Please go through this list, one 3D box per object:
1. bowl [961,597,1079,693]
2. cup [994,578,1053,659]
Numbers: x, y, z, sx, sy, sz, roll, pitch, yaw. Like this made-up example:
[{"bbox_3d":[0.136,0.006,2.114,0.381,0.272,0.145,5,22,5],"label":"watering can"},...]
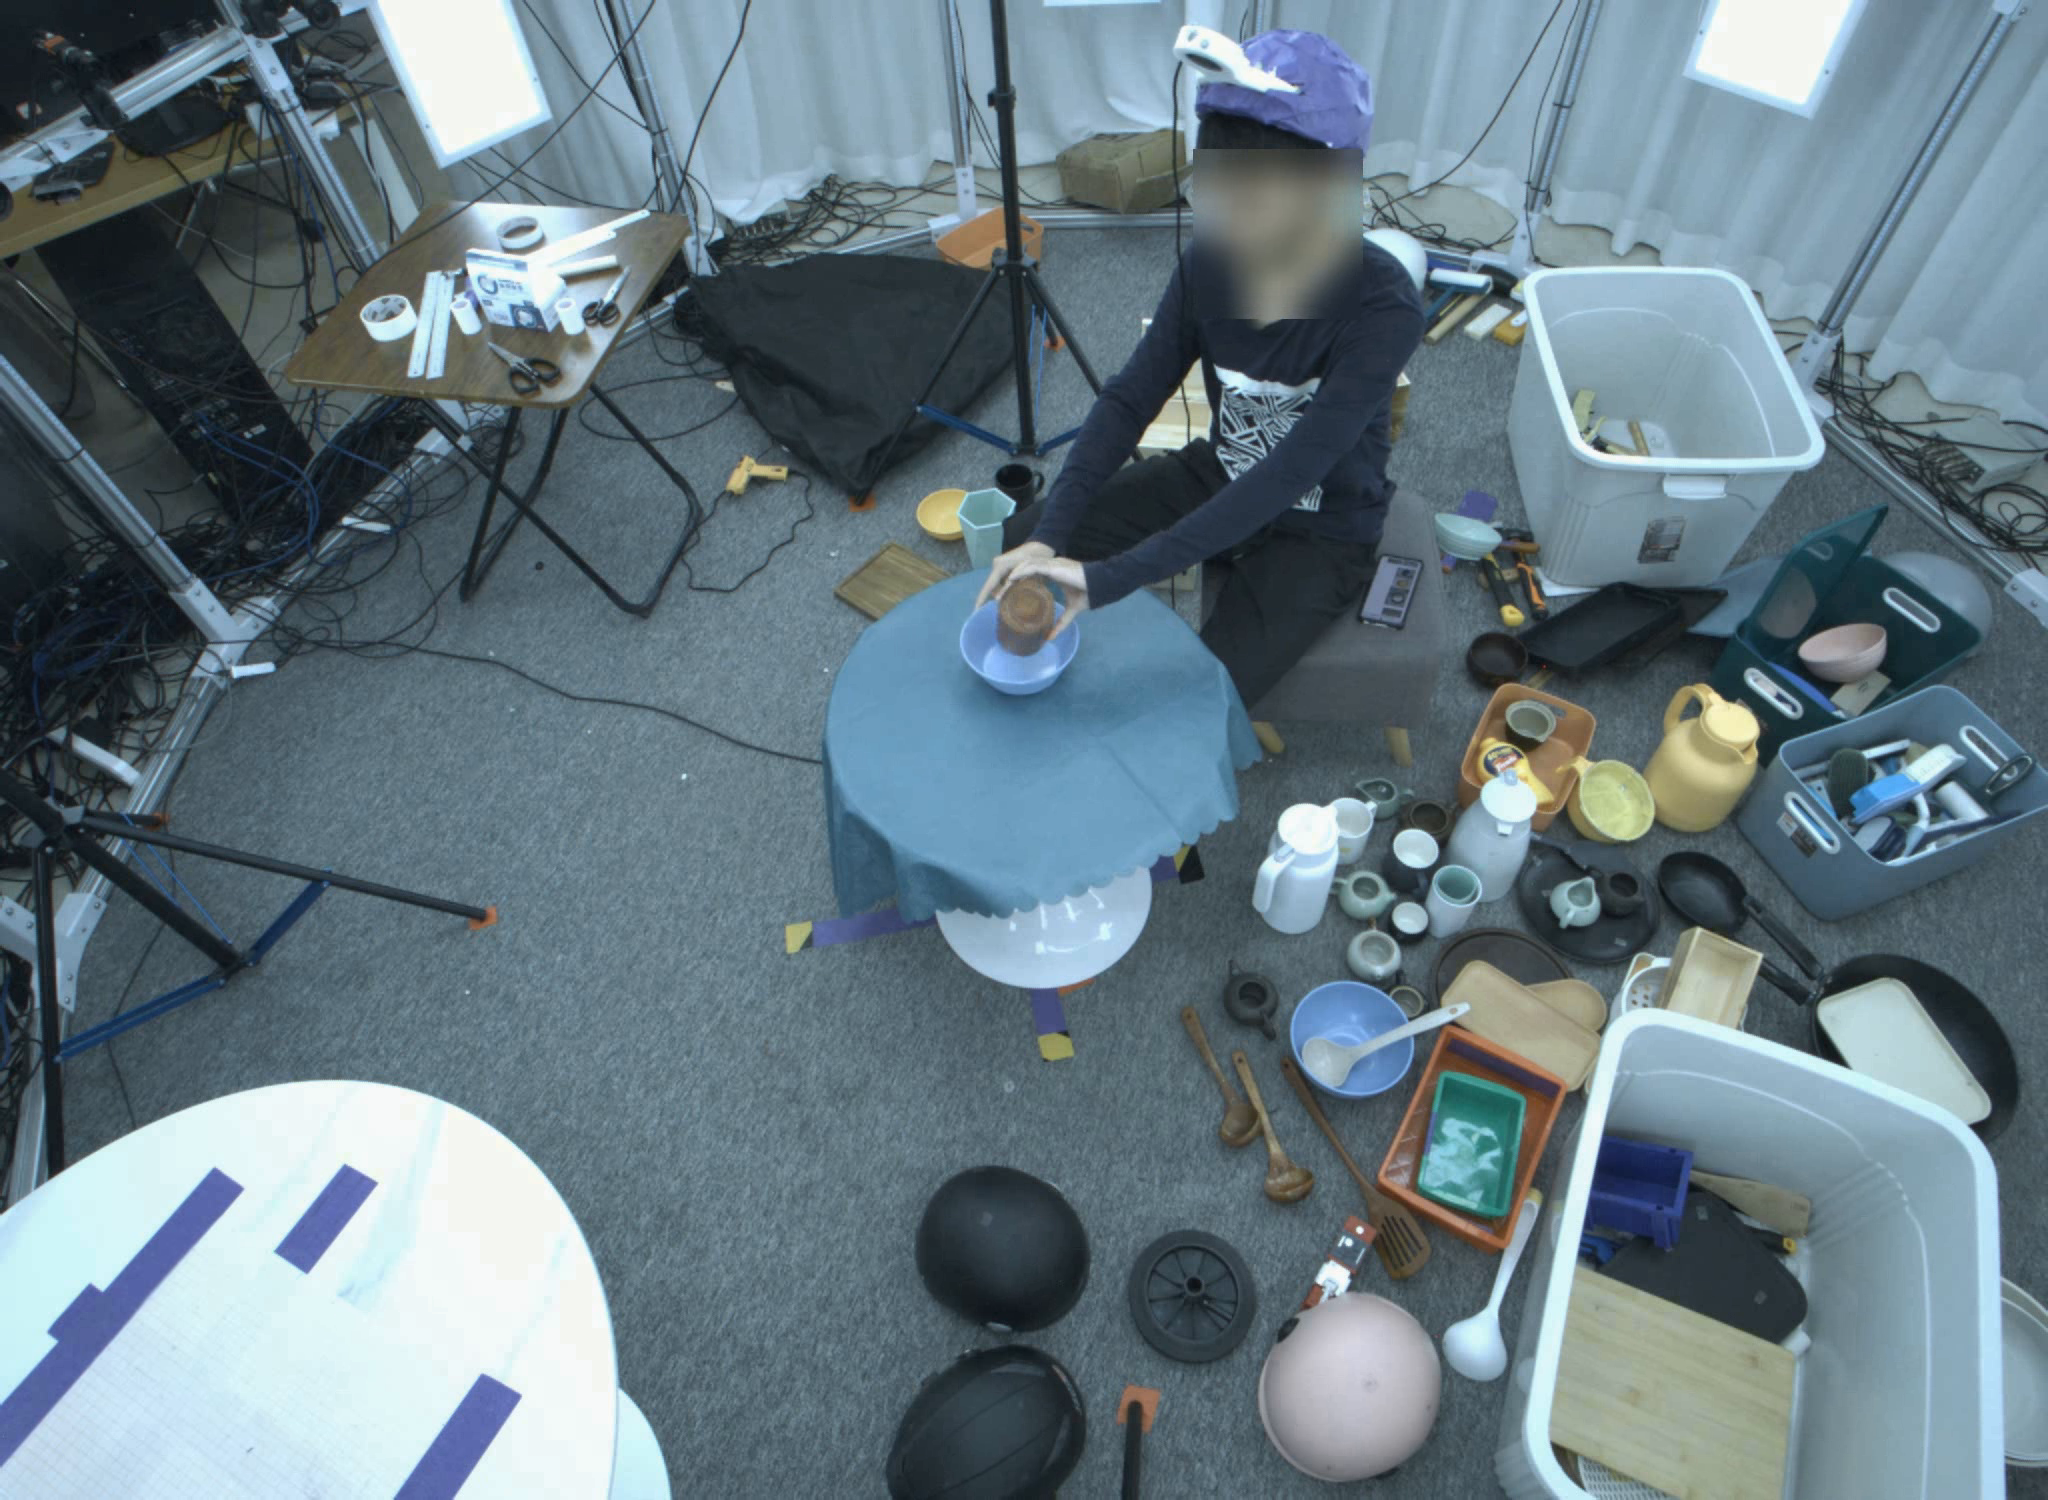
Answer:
[{"bbox_3d":[-0.005,-0.150,1.843,0.176,0.071,0.174,0,54,1],"label":"bowl"},{"bbox_3d":[-0.001,-0.186,1.762,0.088,0.118,0.087,1,76,-3],"label":"cup"}]
